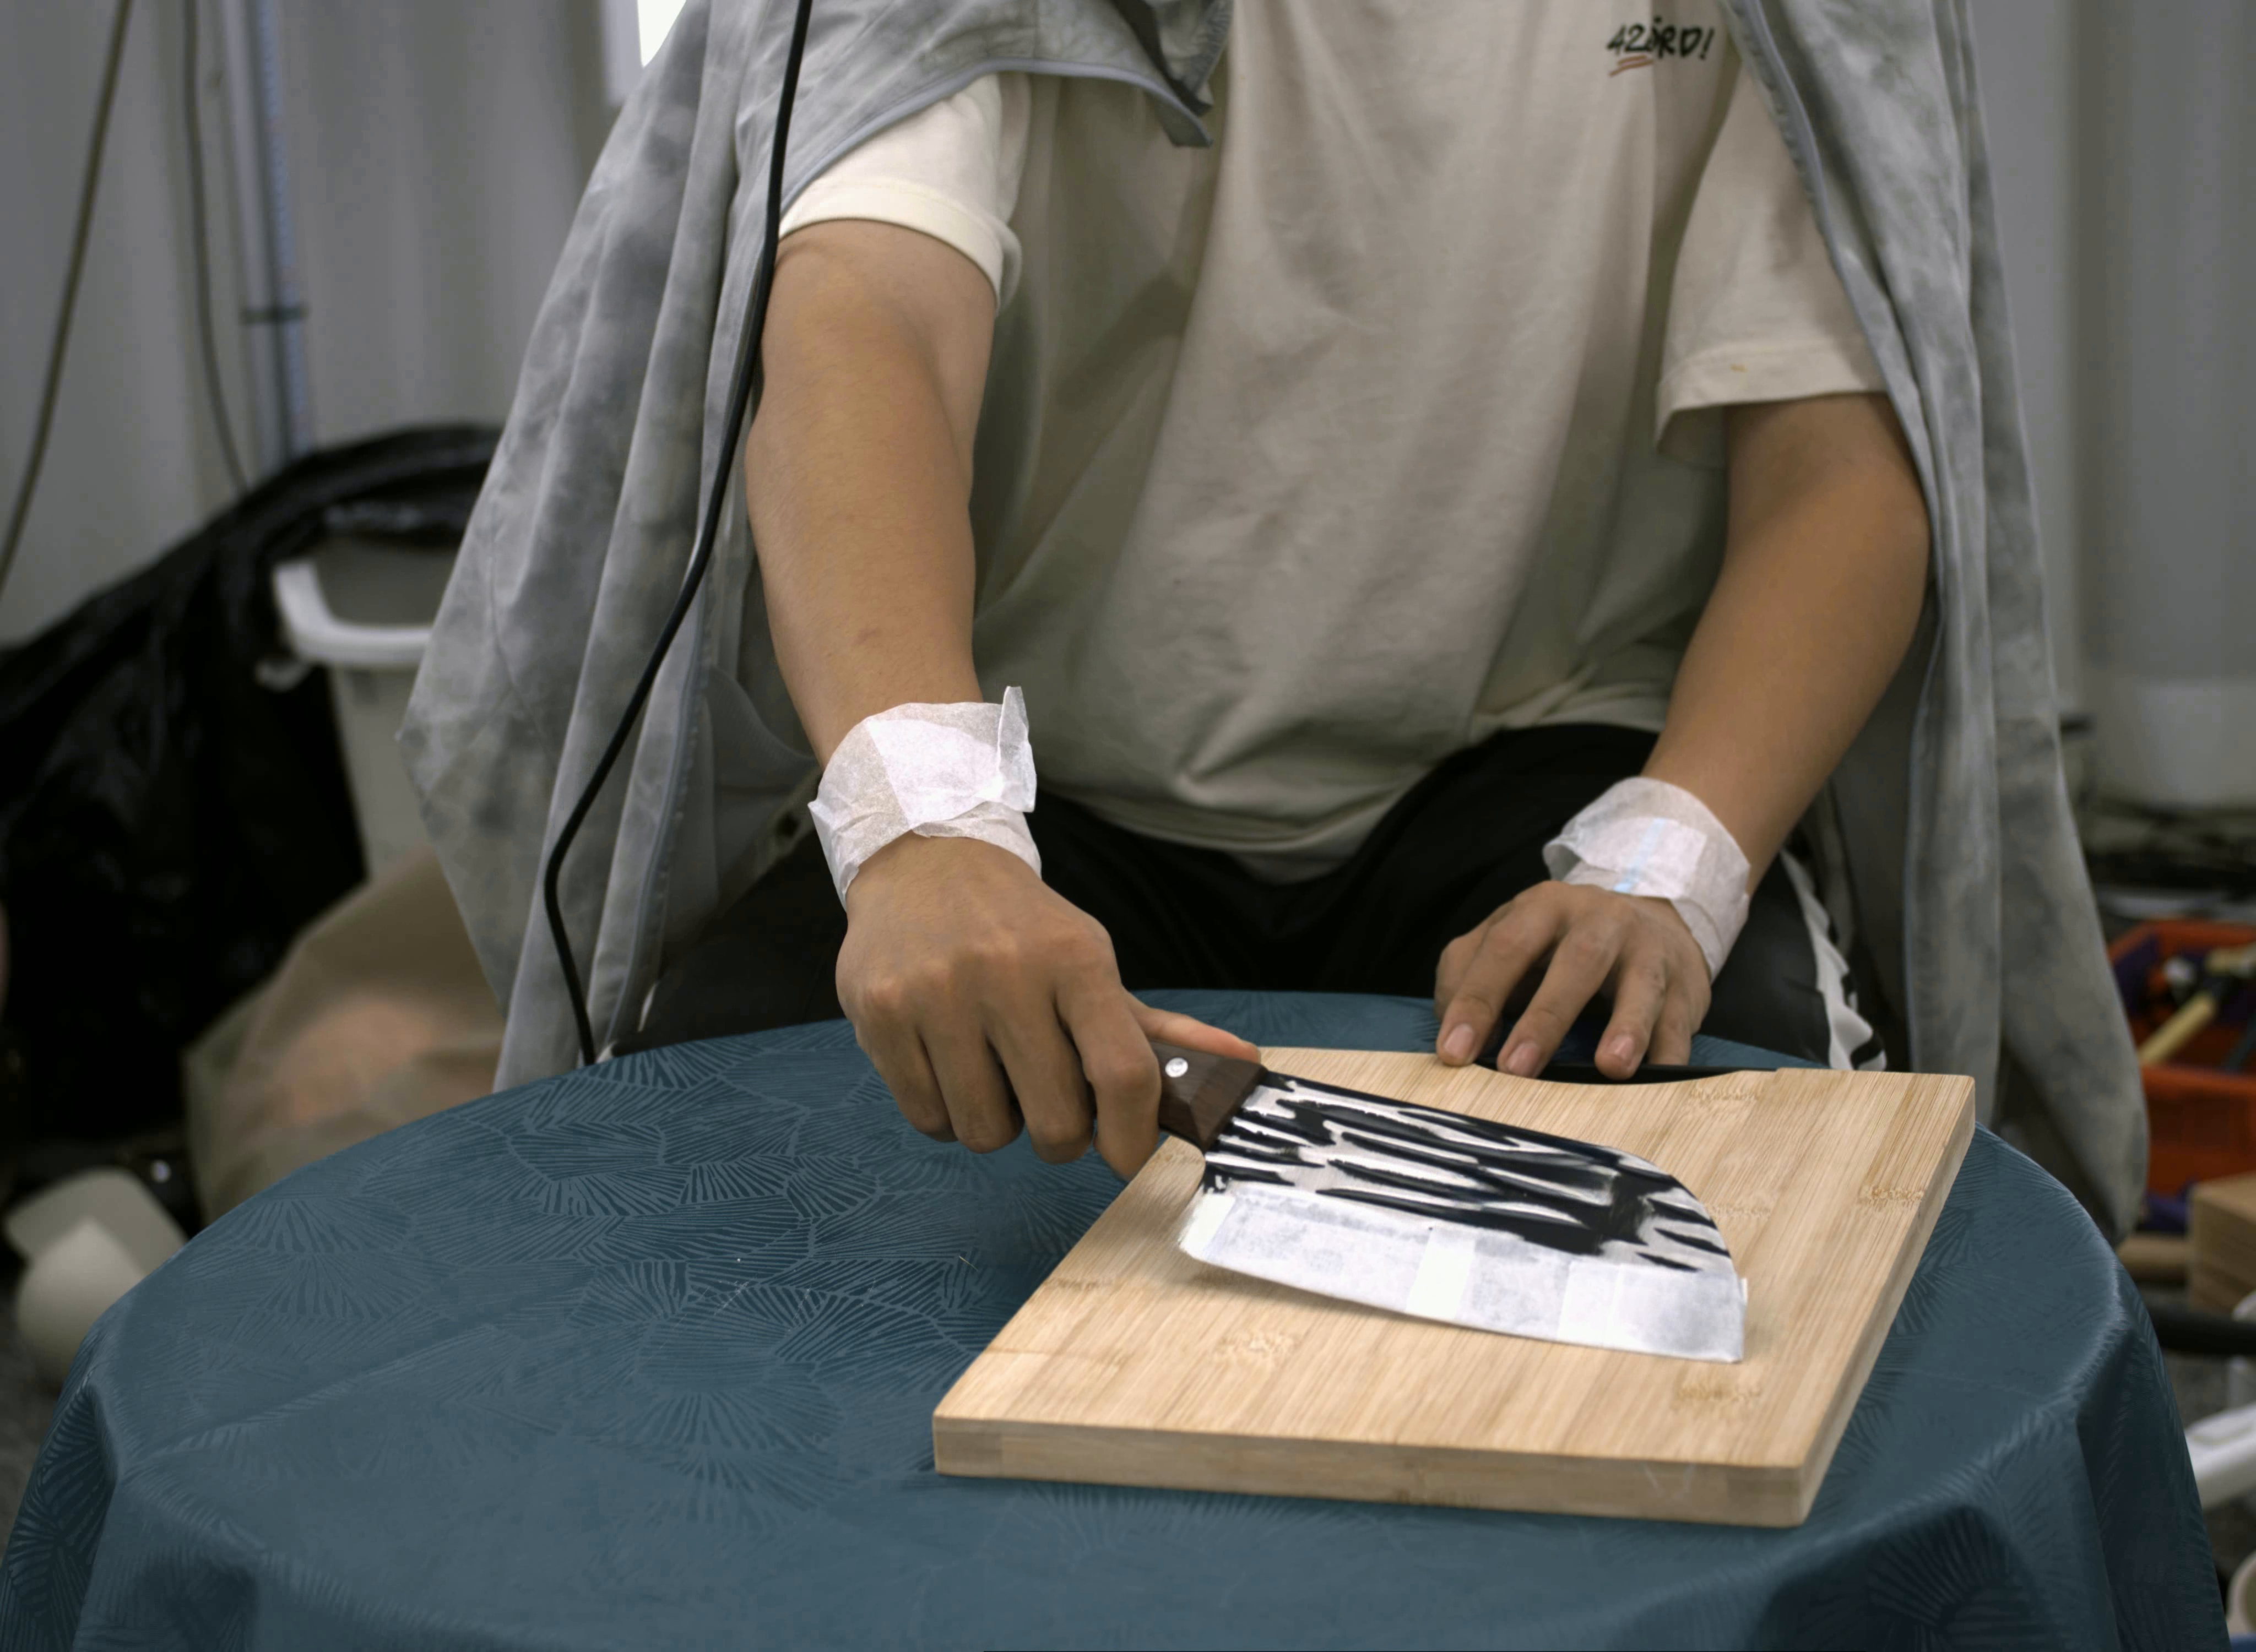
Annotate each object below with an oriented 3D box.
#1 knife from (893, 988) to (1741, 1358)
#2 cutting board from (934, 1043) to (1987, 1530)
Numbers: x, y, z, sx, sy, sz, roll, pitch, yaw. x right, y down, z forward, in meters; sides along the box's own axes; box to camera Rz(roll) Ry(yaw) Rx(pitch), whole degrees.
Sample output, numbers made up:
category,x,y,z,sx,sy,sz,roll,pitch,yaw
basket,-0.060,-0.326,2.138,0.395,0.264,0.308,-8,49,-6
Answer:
category,x,y,z,sx,sy,sz,roll,pitch,yaw
knife,0.048,0.101,1.582,0.301,0.023,0.069,13,57,29
cutting board,0.109,0.128,1.618,0.250,0.023,0.350,2,15,15
